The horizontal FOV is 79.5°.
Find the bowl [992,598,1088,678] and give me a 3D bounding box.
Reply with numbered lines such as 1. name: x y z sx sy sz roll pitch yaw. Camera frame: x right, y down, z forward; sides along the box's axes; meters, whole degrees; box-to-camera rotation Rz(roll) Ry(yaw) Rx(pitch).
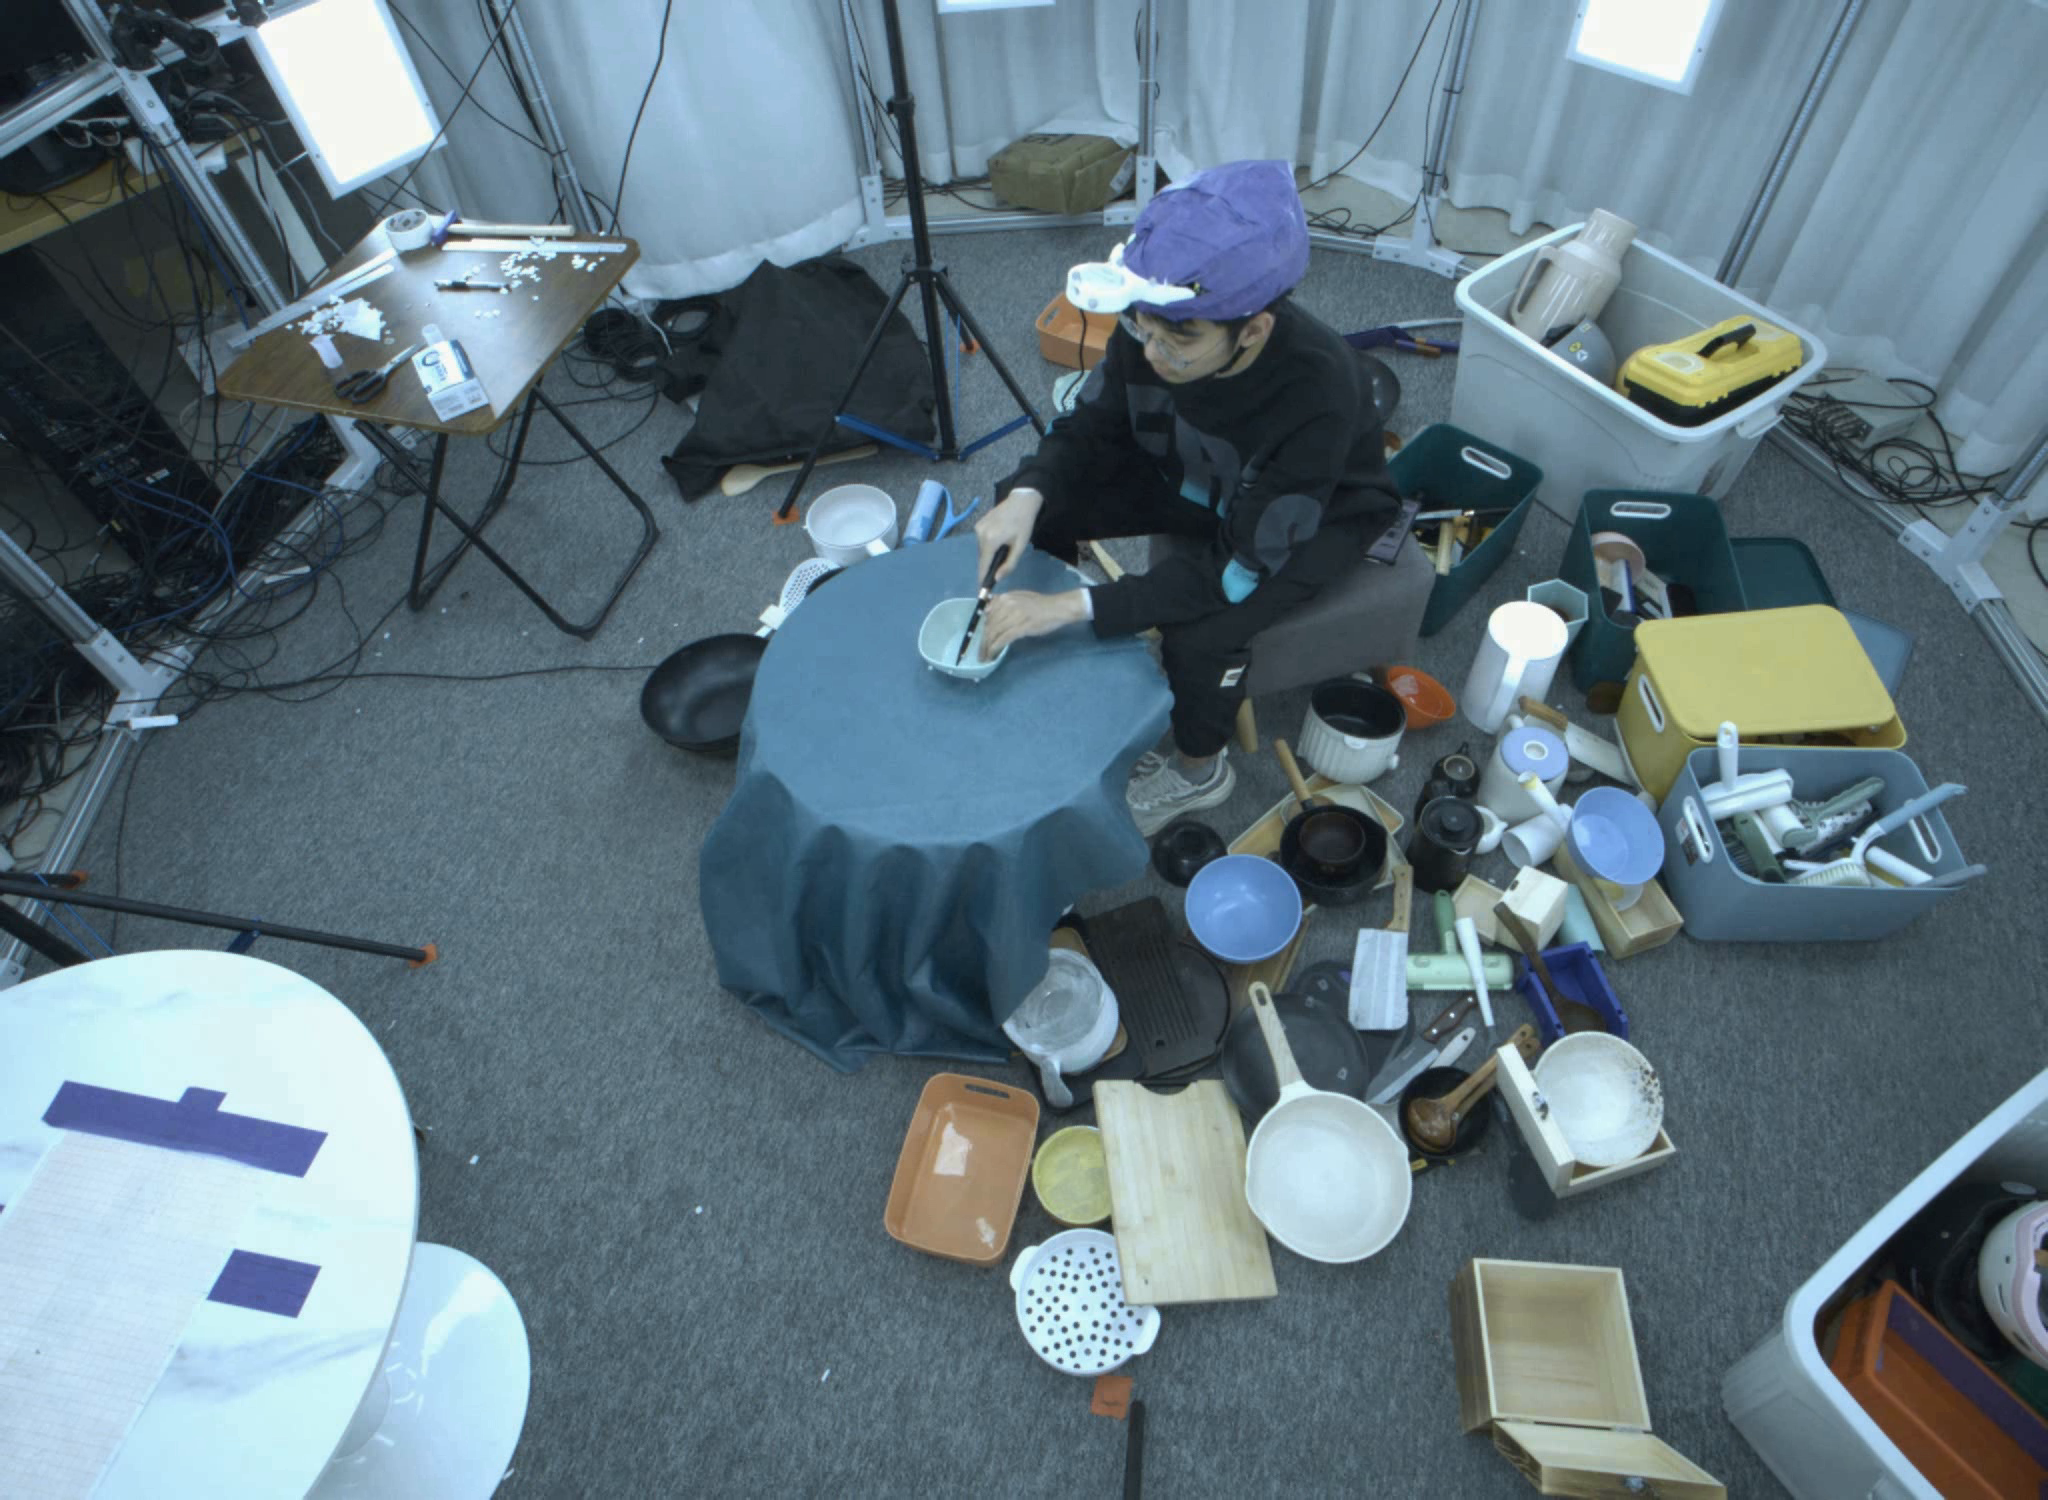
1. bowl: 0.026 -0.161 1.867 0.151 0.059 0.150 -1 54 3

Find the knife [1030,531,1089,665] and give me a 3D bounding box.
1. knife: 0.049 -0.226 1.856 0.017 0.027 0.225 22 89 26
